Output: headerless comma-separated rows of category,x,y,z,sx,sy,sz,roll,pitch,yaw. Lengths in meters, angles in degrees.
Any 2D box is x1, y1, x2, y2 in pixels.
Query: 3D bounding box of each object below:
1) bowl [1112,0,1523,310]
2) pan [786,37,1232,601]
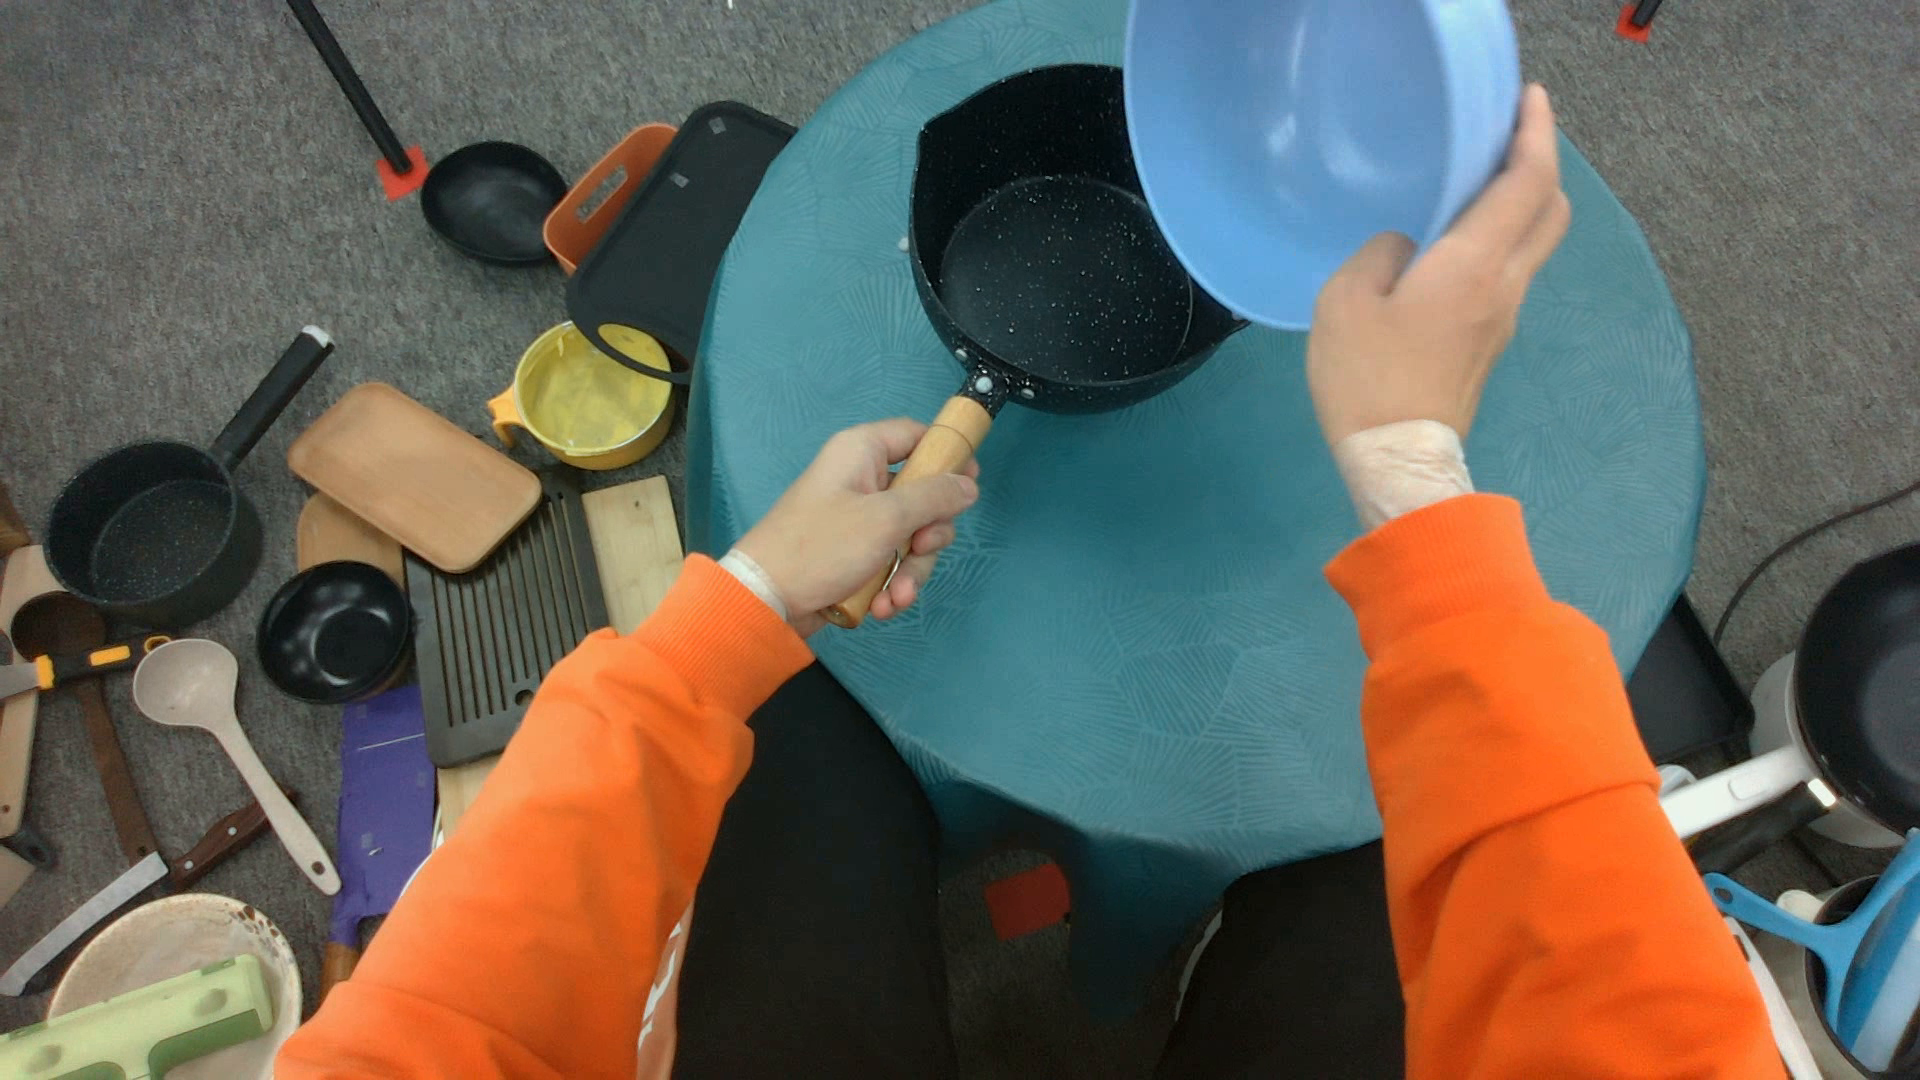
bowl,0.173,-0.209,0.625,0.096,0.195,0.197,-18,67,-38
pan,0.012,-0.103,0.712,0.207,0.108,0.344,29,72,3
